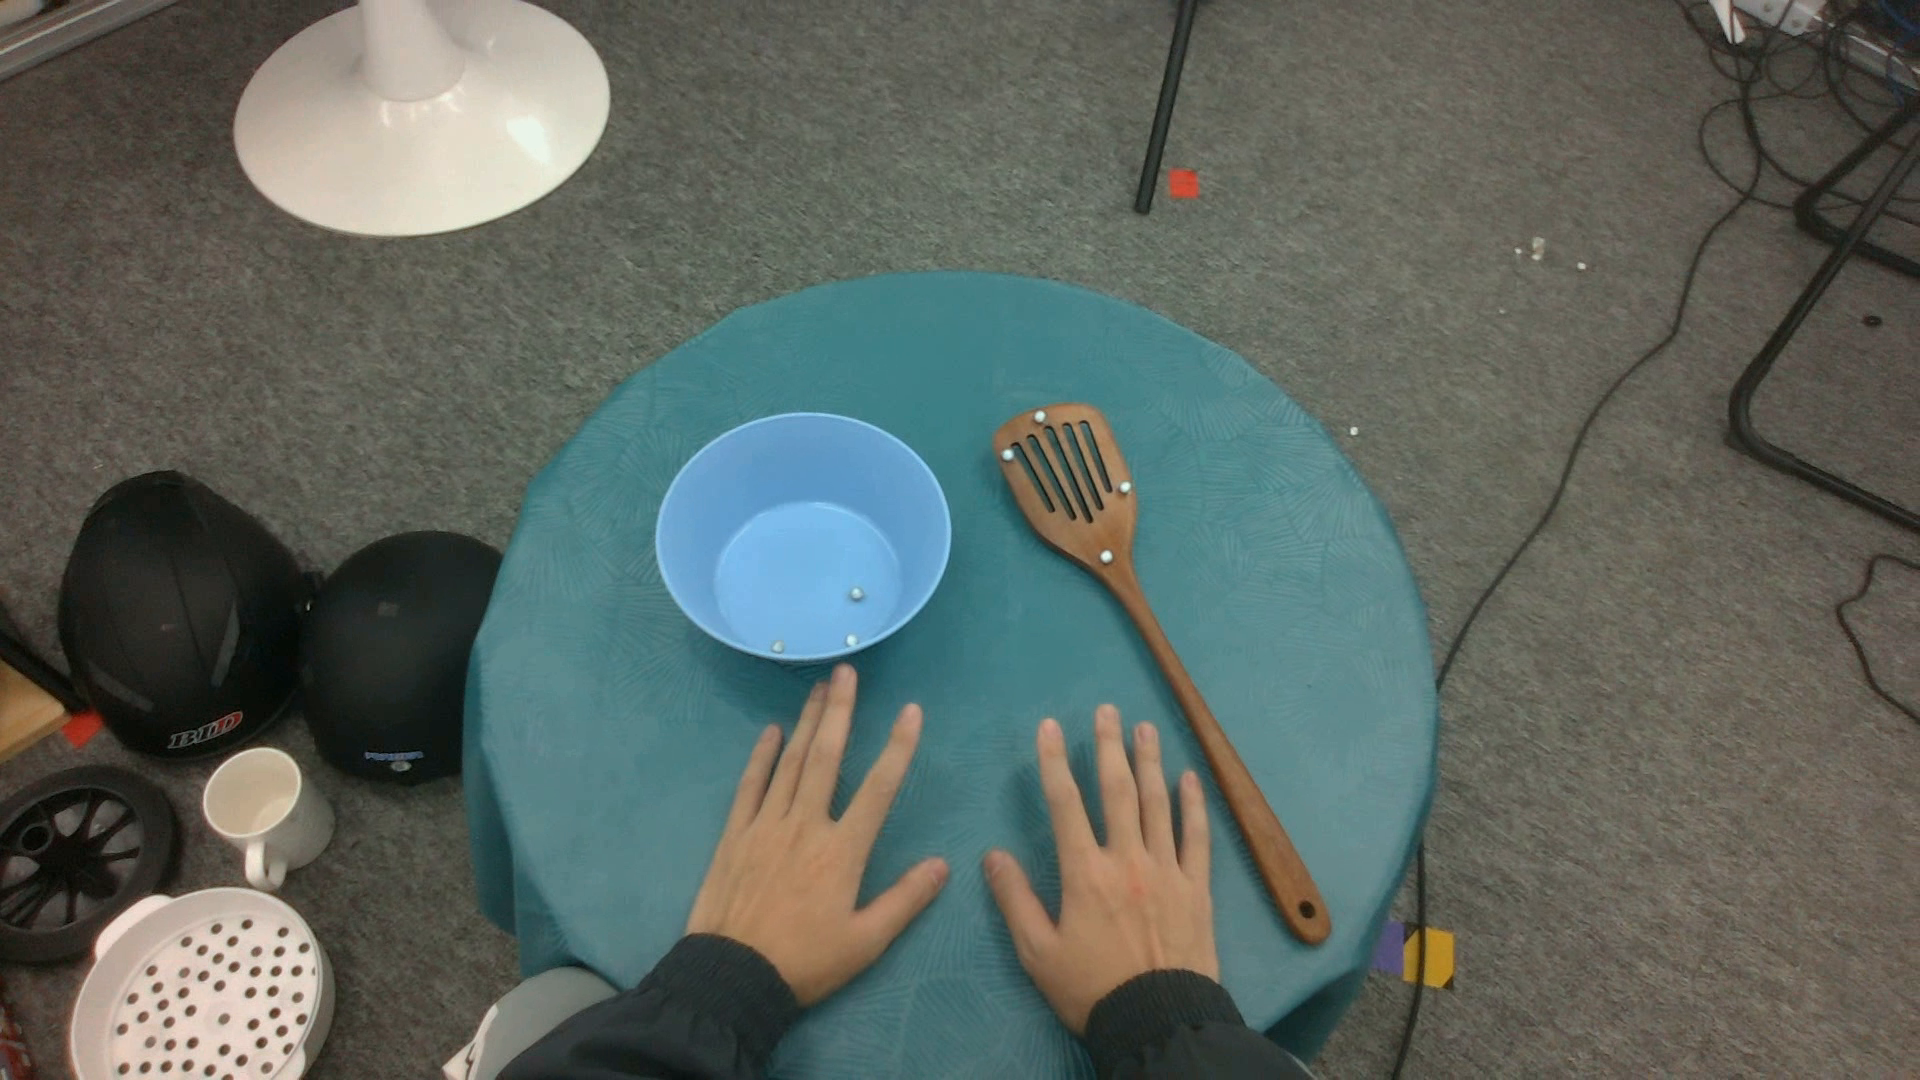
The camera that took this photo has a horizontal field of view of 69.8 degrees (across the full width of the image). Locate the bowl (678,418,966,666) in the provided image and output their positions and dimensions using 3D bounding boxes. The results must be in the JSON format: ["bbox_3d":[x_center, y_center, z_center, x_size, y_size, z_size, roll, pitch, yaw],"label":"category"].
[{"bbox_3d":[-0.085,0.012,0.866,0.176,0.070,0.177,1,58,-2],"label":"bowl"}]

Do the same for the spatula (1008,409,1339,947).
[{"bbox_3d":[0.137,0.074,0.868,0.085,0.024,0.387,-18,61,-13],"label":"spatula"}]
